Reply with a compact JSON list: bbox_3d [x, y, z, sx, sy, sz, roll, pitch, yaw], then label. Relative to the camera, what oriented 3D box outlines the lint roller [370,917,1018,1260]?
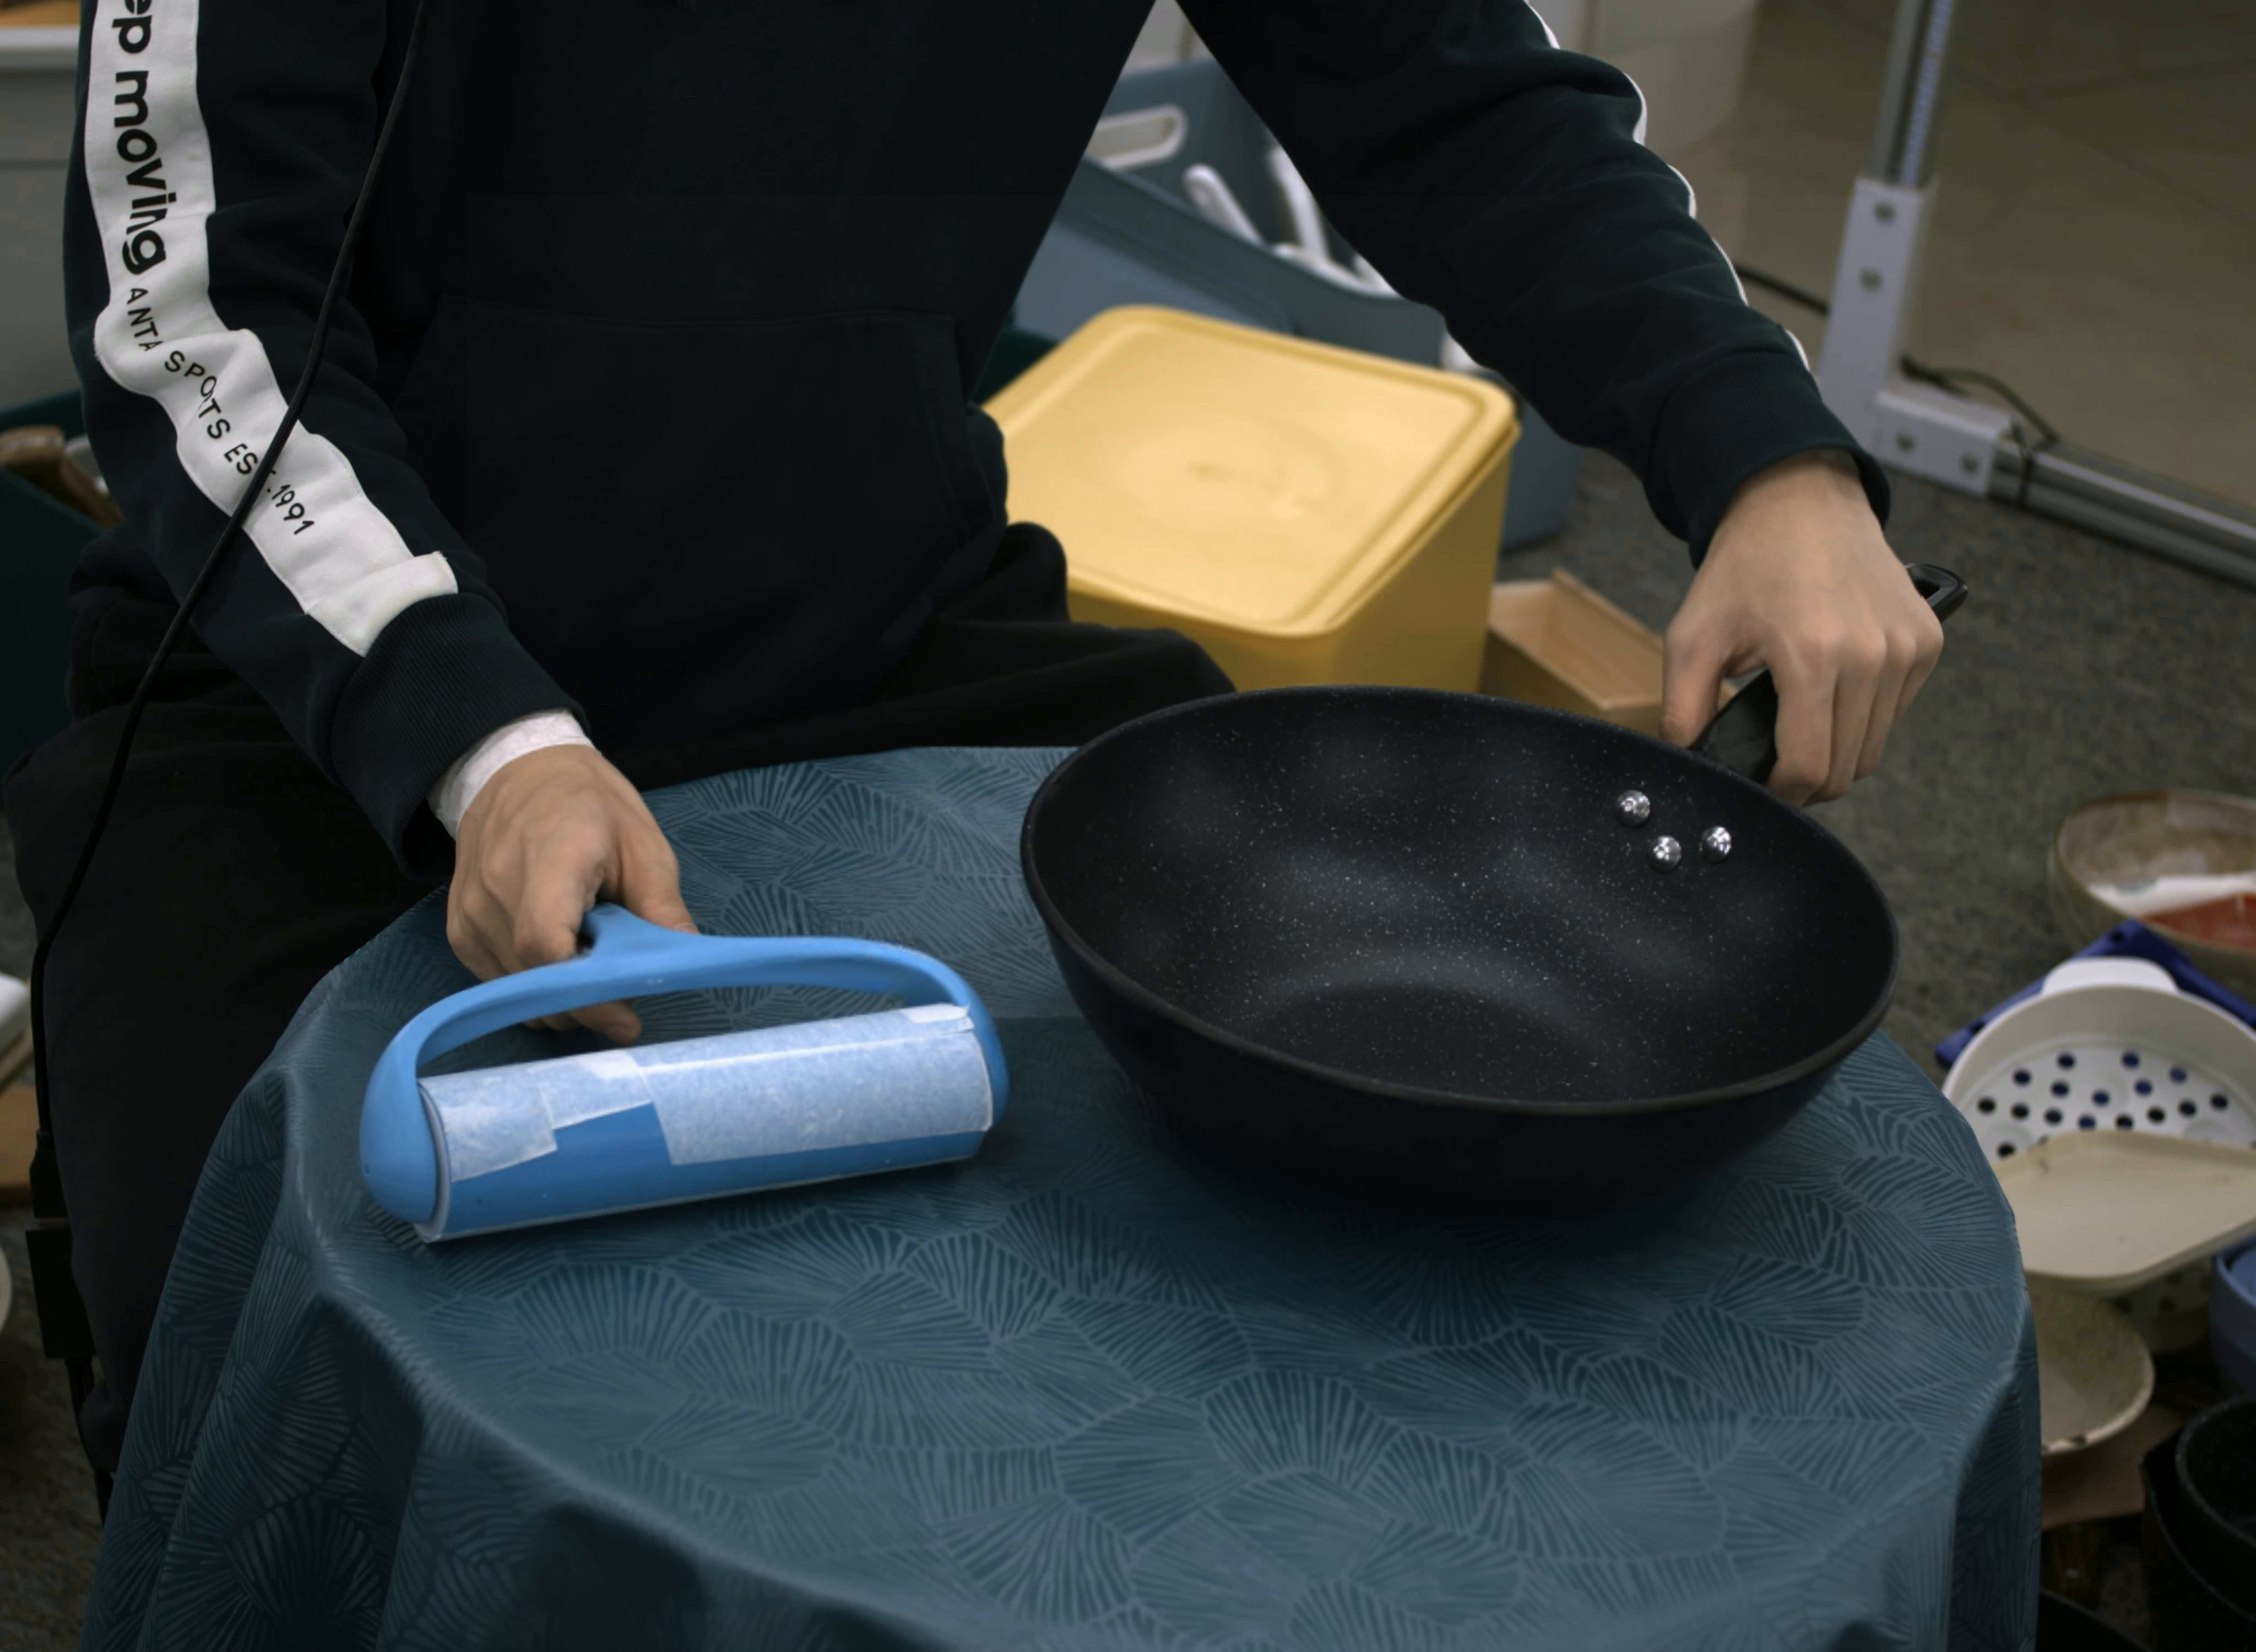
[{"bbox_3d":[-0.169,0.068,1.800,0.227,0.067,0.182,-12,37,-27],"label":"lint roller"}]

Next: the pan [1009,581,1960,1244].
[{"bbox_3d":[0.160,0.026,1.910,0.312,0.111,0.475,26,32,30],"label":"pan"}]
